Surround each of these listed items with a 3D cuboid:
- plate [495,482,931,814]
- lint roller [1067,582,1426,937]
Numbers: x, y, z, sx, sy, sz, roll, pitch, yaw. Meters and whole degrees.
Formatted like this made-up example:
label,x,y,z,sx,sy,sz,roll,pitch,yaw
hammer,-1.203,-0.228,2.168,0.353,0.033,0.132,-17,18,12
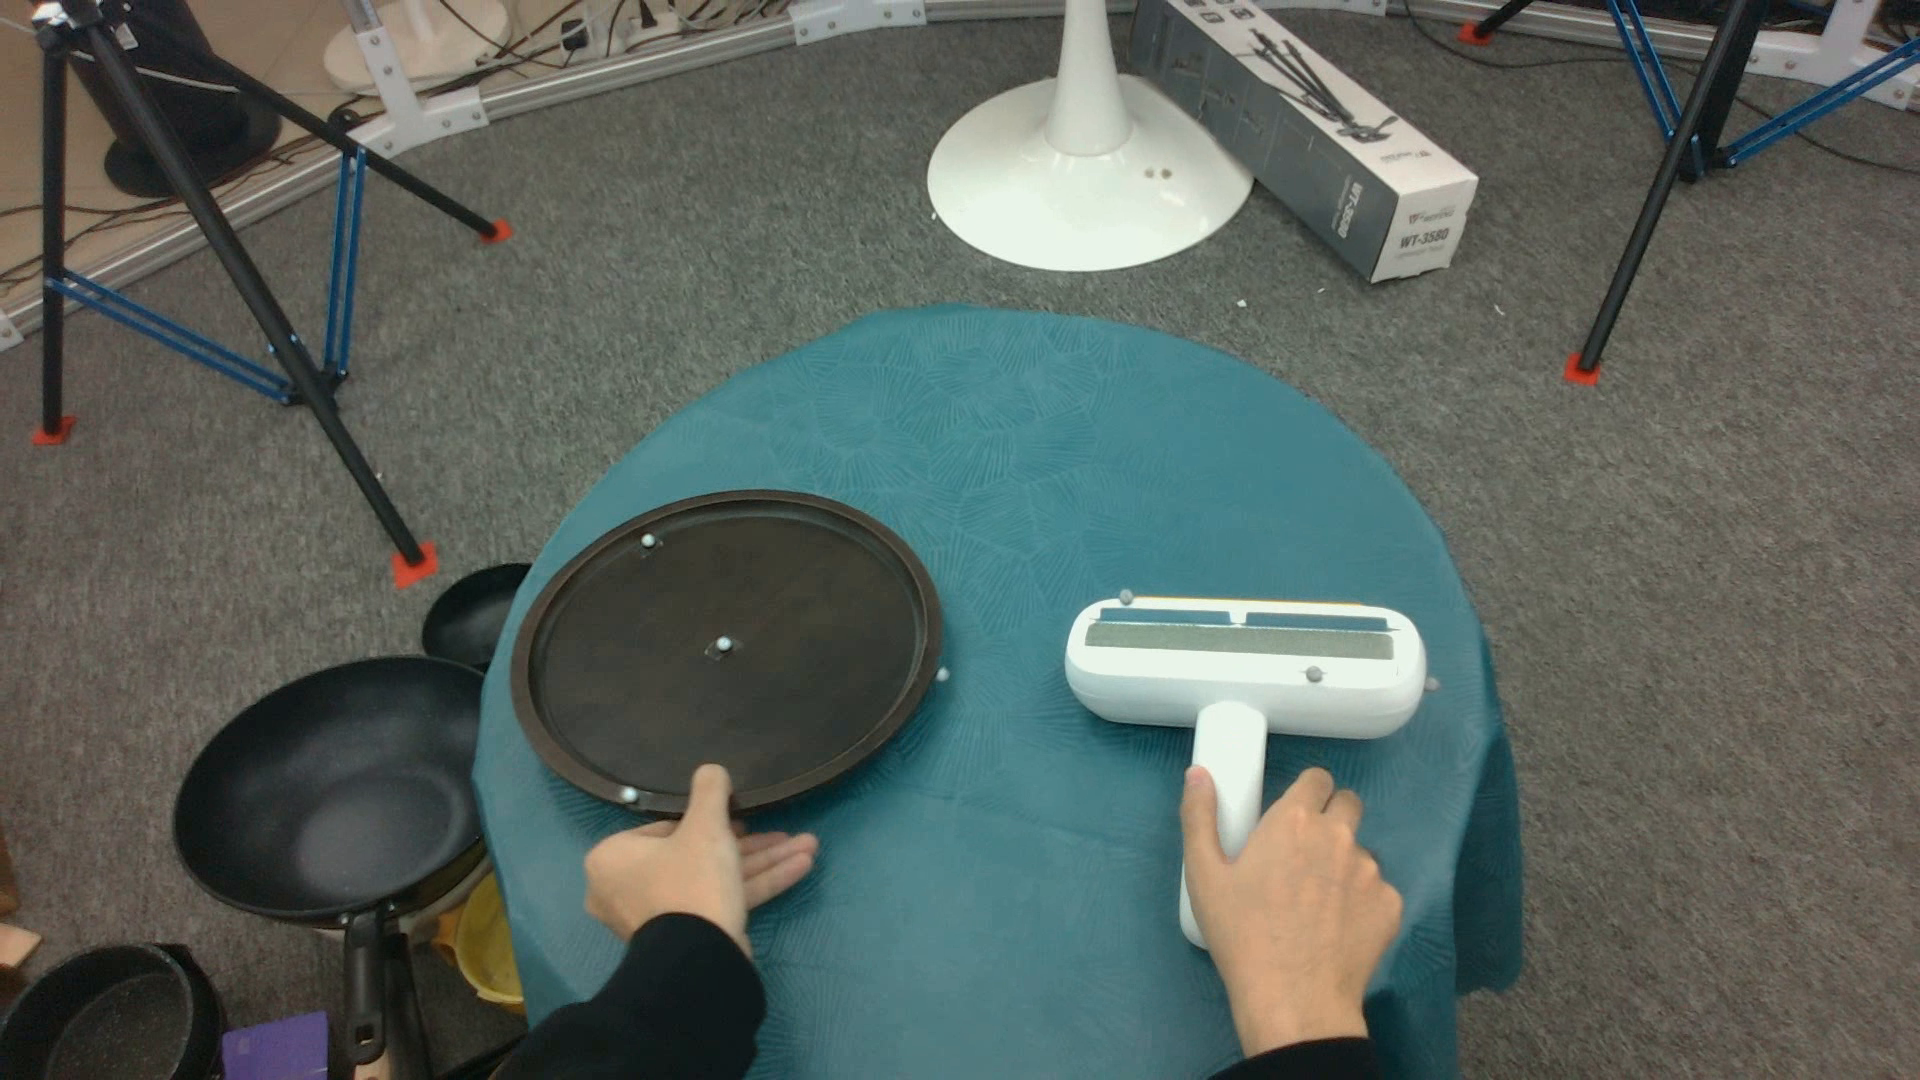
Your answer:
label,x,y,z,sx,sy,sz,roll,pitch,yaw
plate,-0.144,0.056,0.817,0.255,0.029,0.256,0,46,0
lint roller,0.139,0.111,0.728,0.192,0.074,0.193,7,52,18
